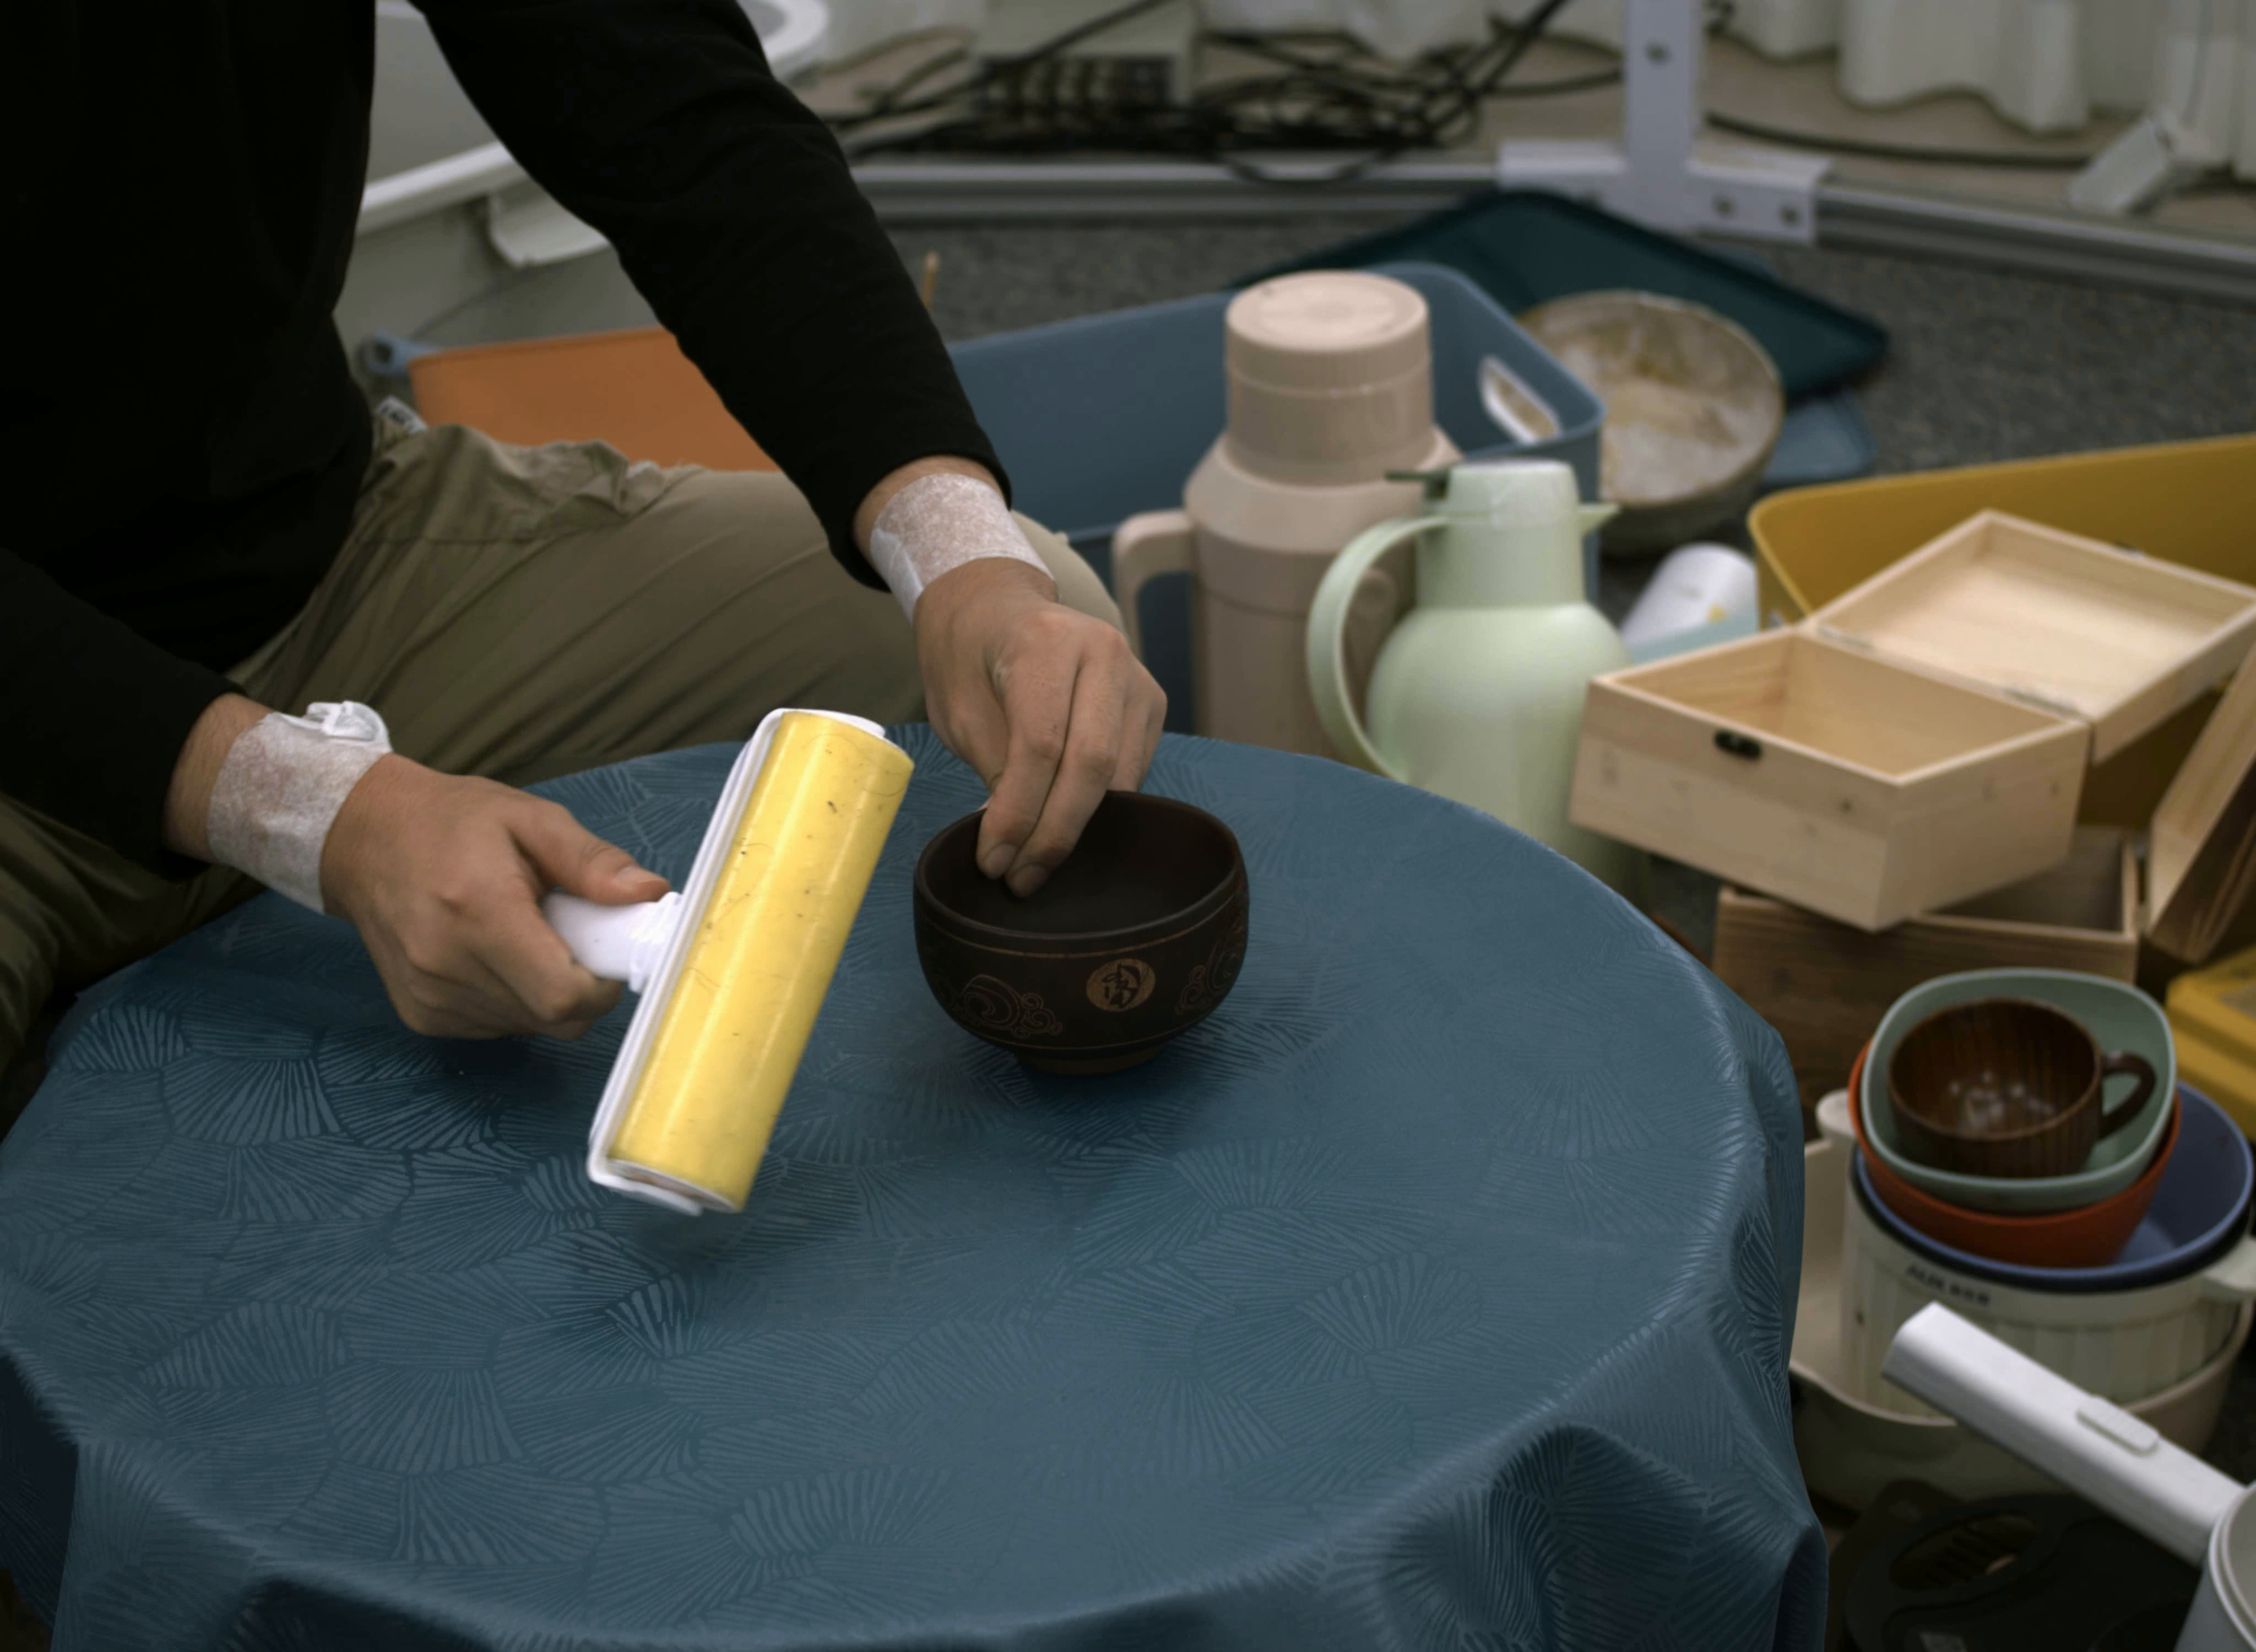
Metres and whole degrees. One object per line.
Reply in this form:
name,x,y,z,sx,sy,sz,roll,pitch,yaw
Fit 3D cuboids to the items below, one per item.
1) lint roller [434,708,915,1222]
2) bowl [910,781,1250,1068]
lint roller,-0.173,0.038,1.885,0.190,0.051,0.176,8,71,36
bowl,-0.016,0.040,1.938,0.117,0.069,0.120,-1,25,1
